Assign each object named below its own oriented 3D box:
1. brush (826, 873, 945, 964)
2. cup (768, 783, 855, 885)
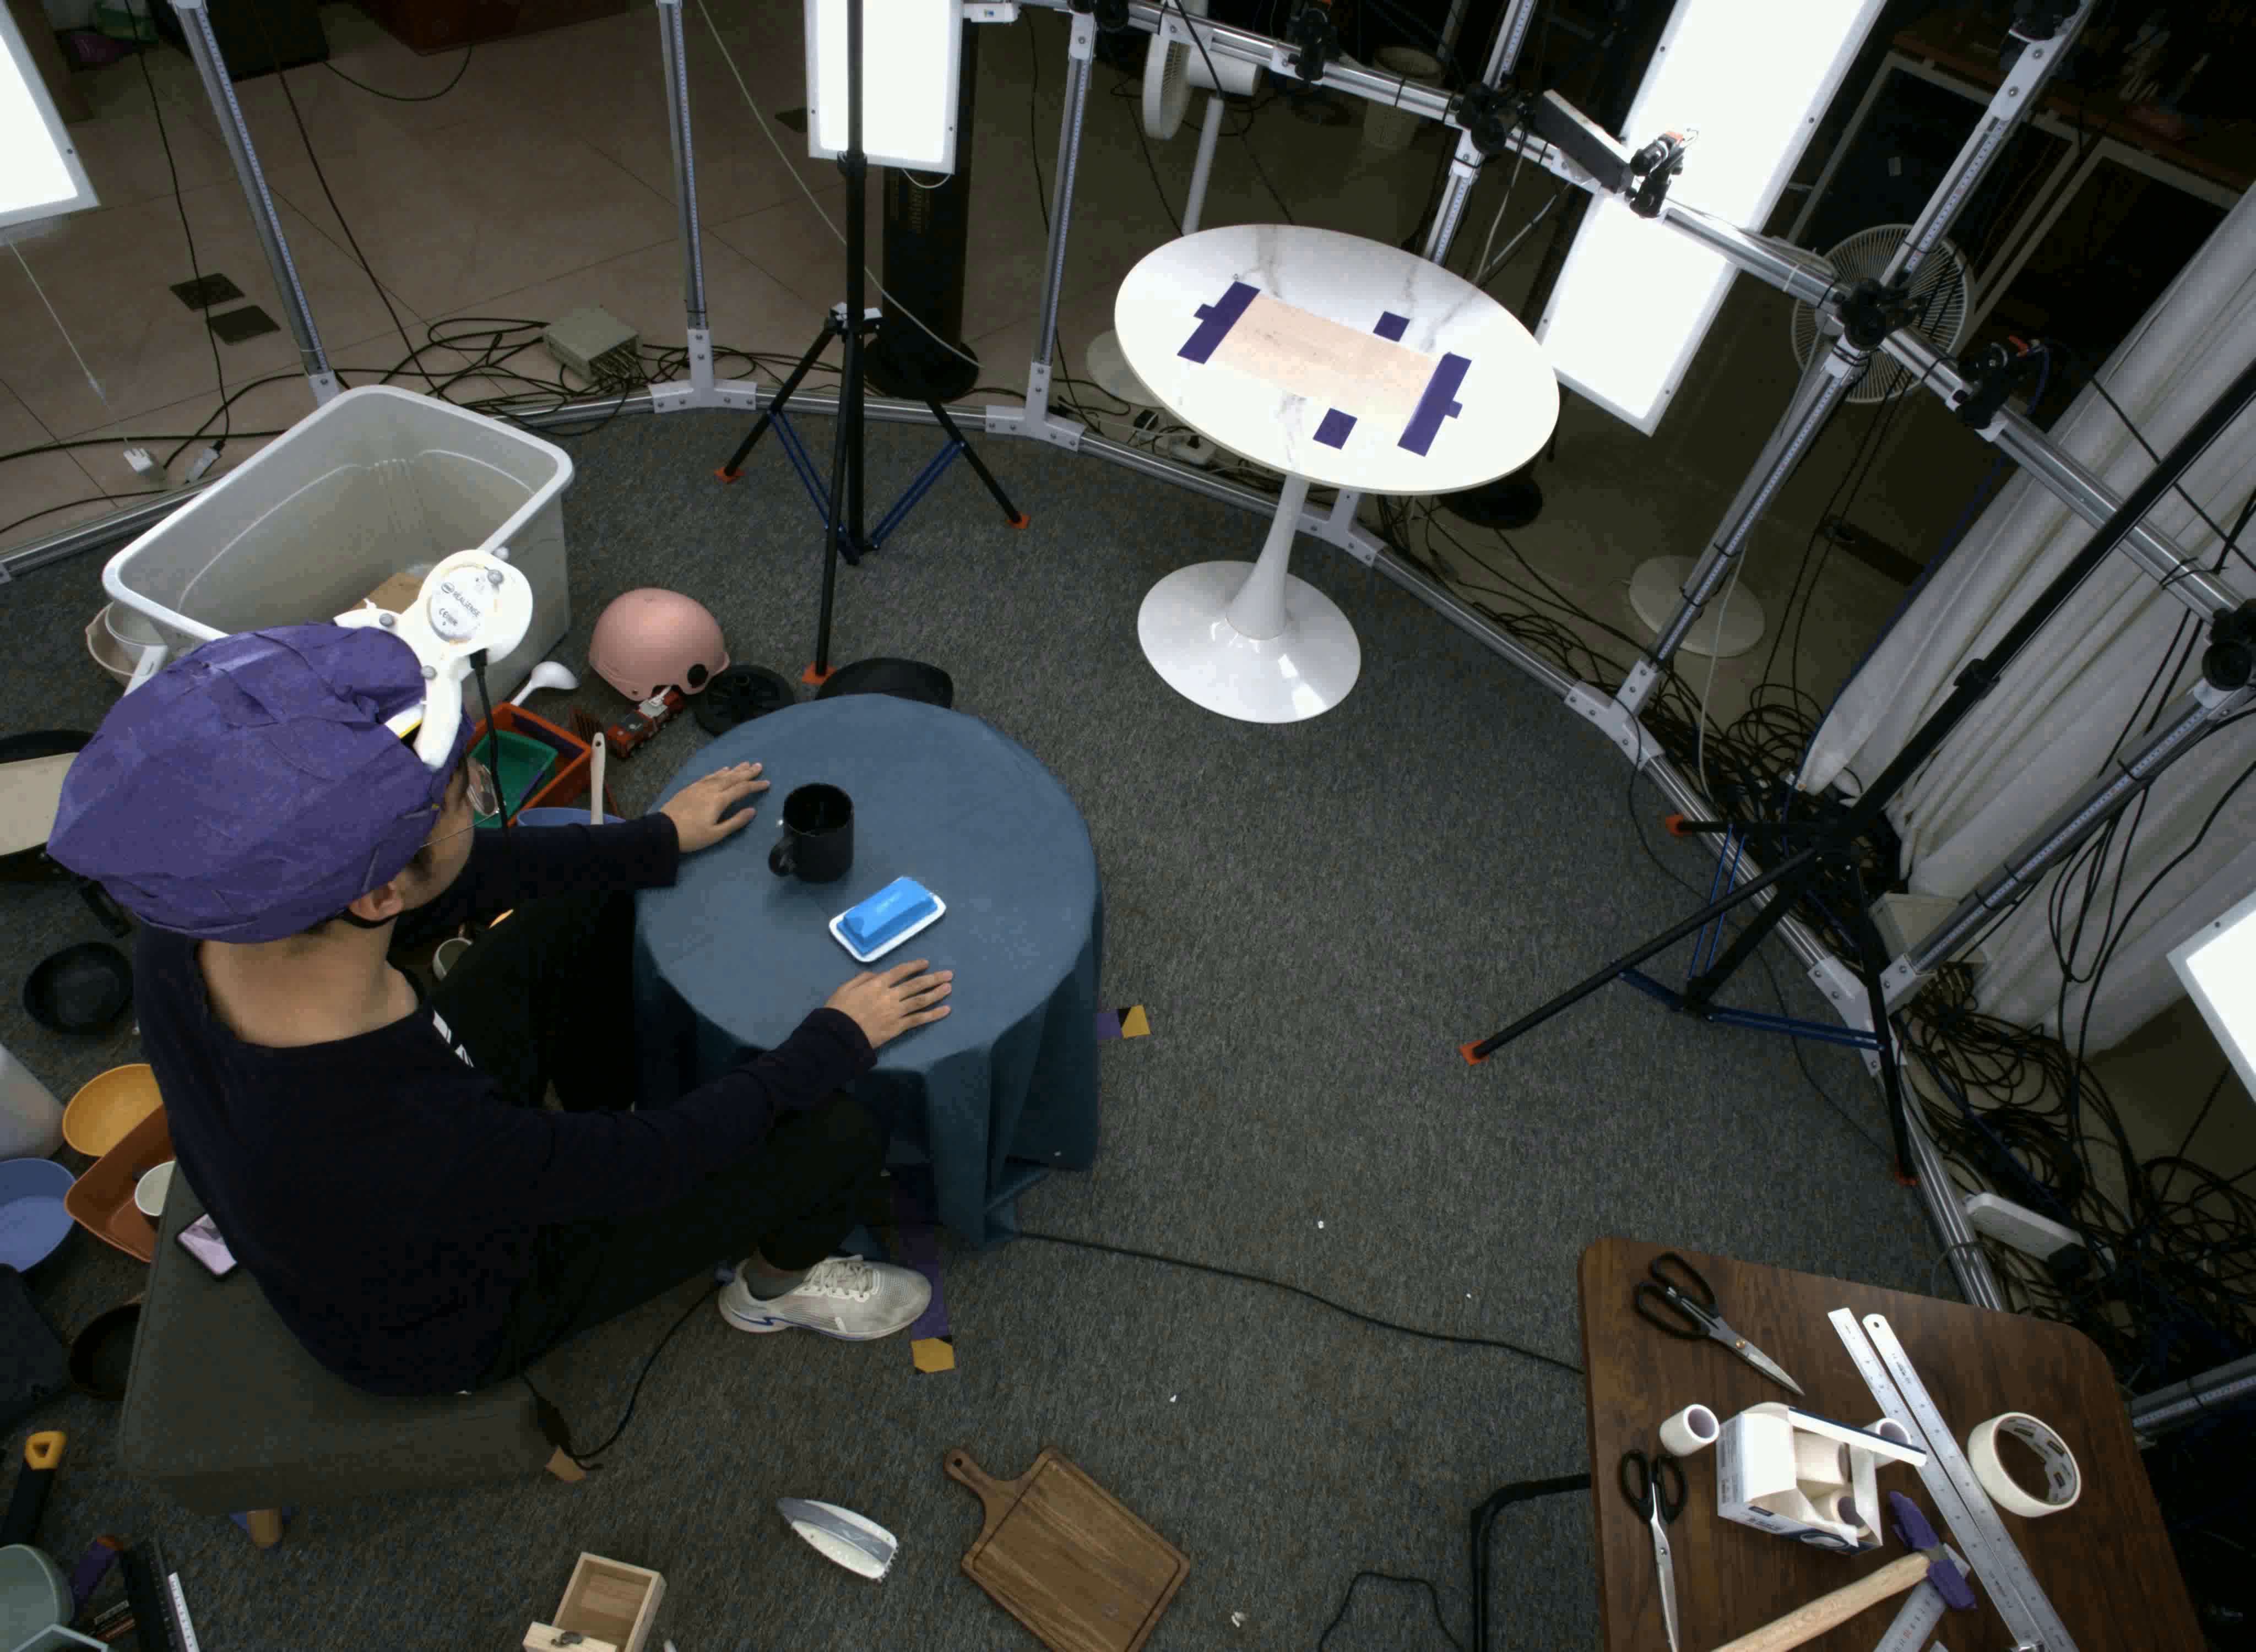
[{"bbox_3d":[-0.305,0.107,1.636,0.144,0.057,0.081,-31,62,-34],"label":"brush"},{"bbox_3d":[-0.406,0.019,1.651,0.087,0.107,0.124,39,58,16],"label":"cup"}]
